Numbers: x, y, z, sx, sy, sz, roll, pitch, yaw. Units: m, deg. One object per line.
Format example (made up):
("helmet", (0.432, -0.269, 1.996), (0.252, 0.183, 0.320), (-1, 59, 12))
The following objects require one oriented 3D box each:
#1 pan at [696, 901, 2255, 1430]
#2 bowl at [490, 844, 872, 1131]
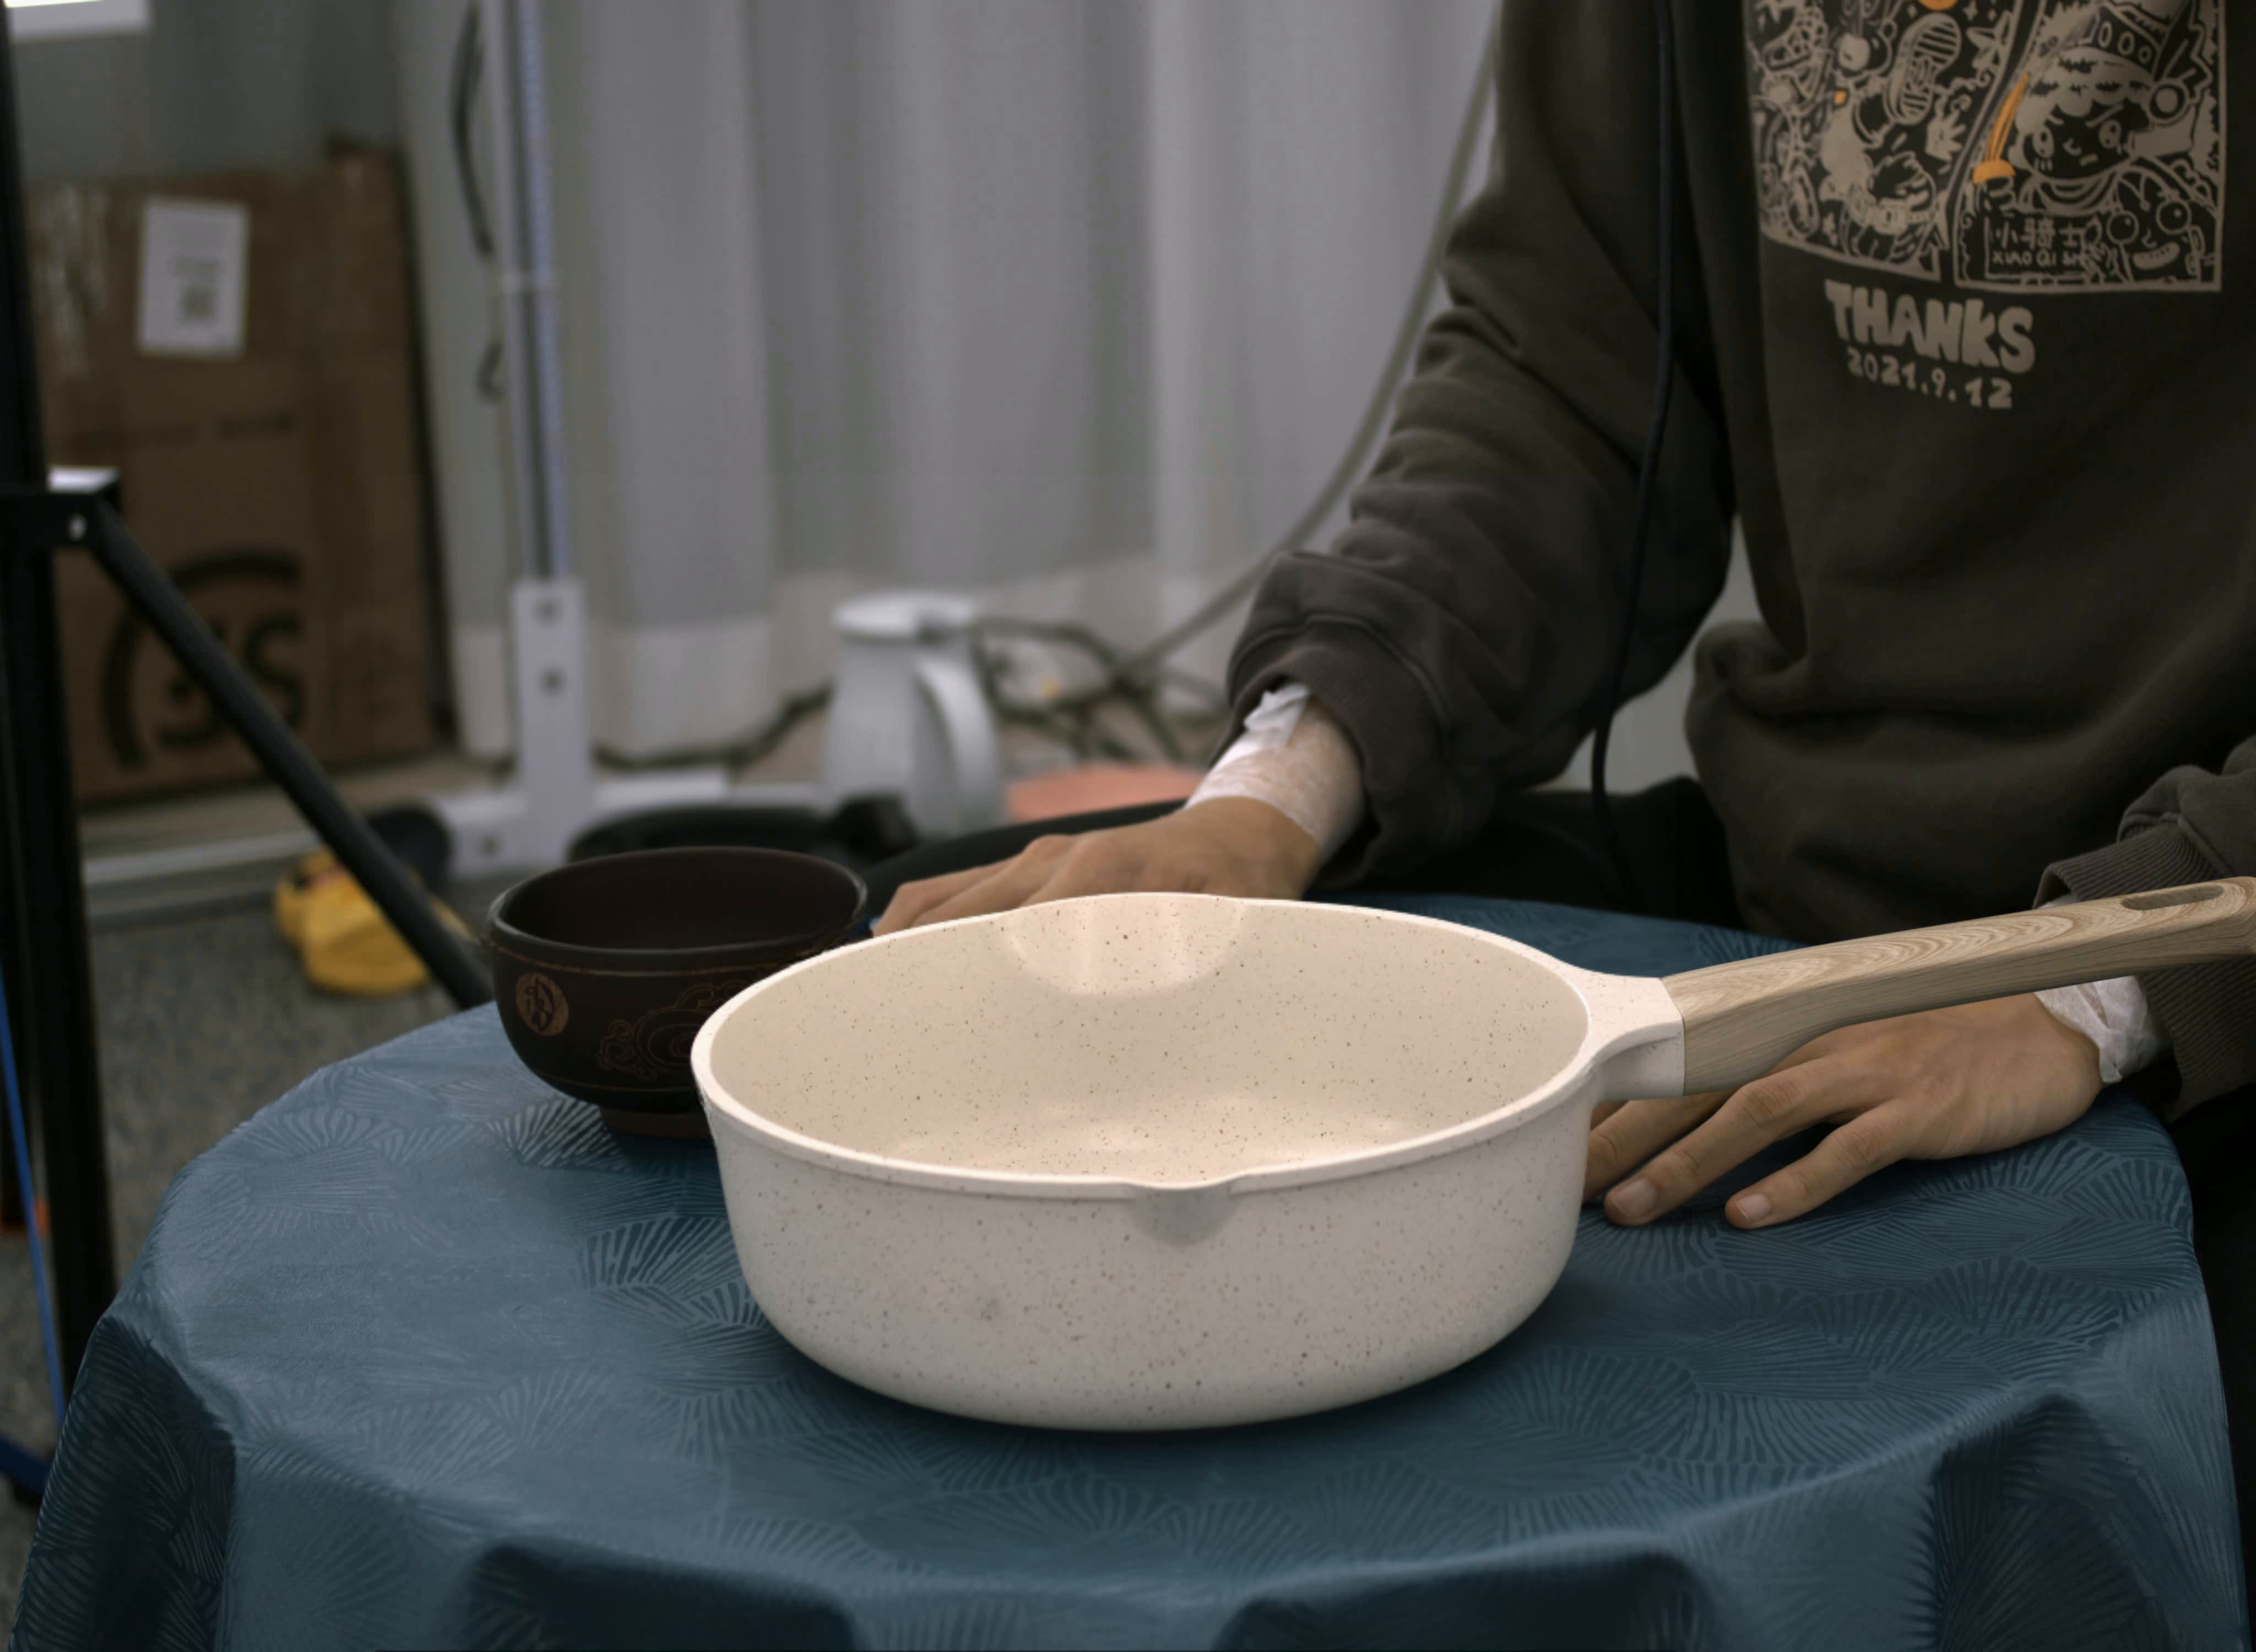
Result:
("pan", (0.100, 0.083, 1.455), (0.432, 0.102, 0.265), (-3, 14, -2))
("bowl", (-0.137, 0.053, 1.649), (0.117, 0.070, 0.118), (-2, 14, -1))
